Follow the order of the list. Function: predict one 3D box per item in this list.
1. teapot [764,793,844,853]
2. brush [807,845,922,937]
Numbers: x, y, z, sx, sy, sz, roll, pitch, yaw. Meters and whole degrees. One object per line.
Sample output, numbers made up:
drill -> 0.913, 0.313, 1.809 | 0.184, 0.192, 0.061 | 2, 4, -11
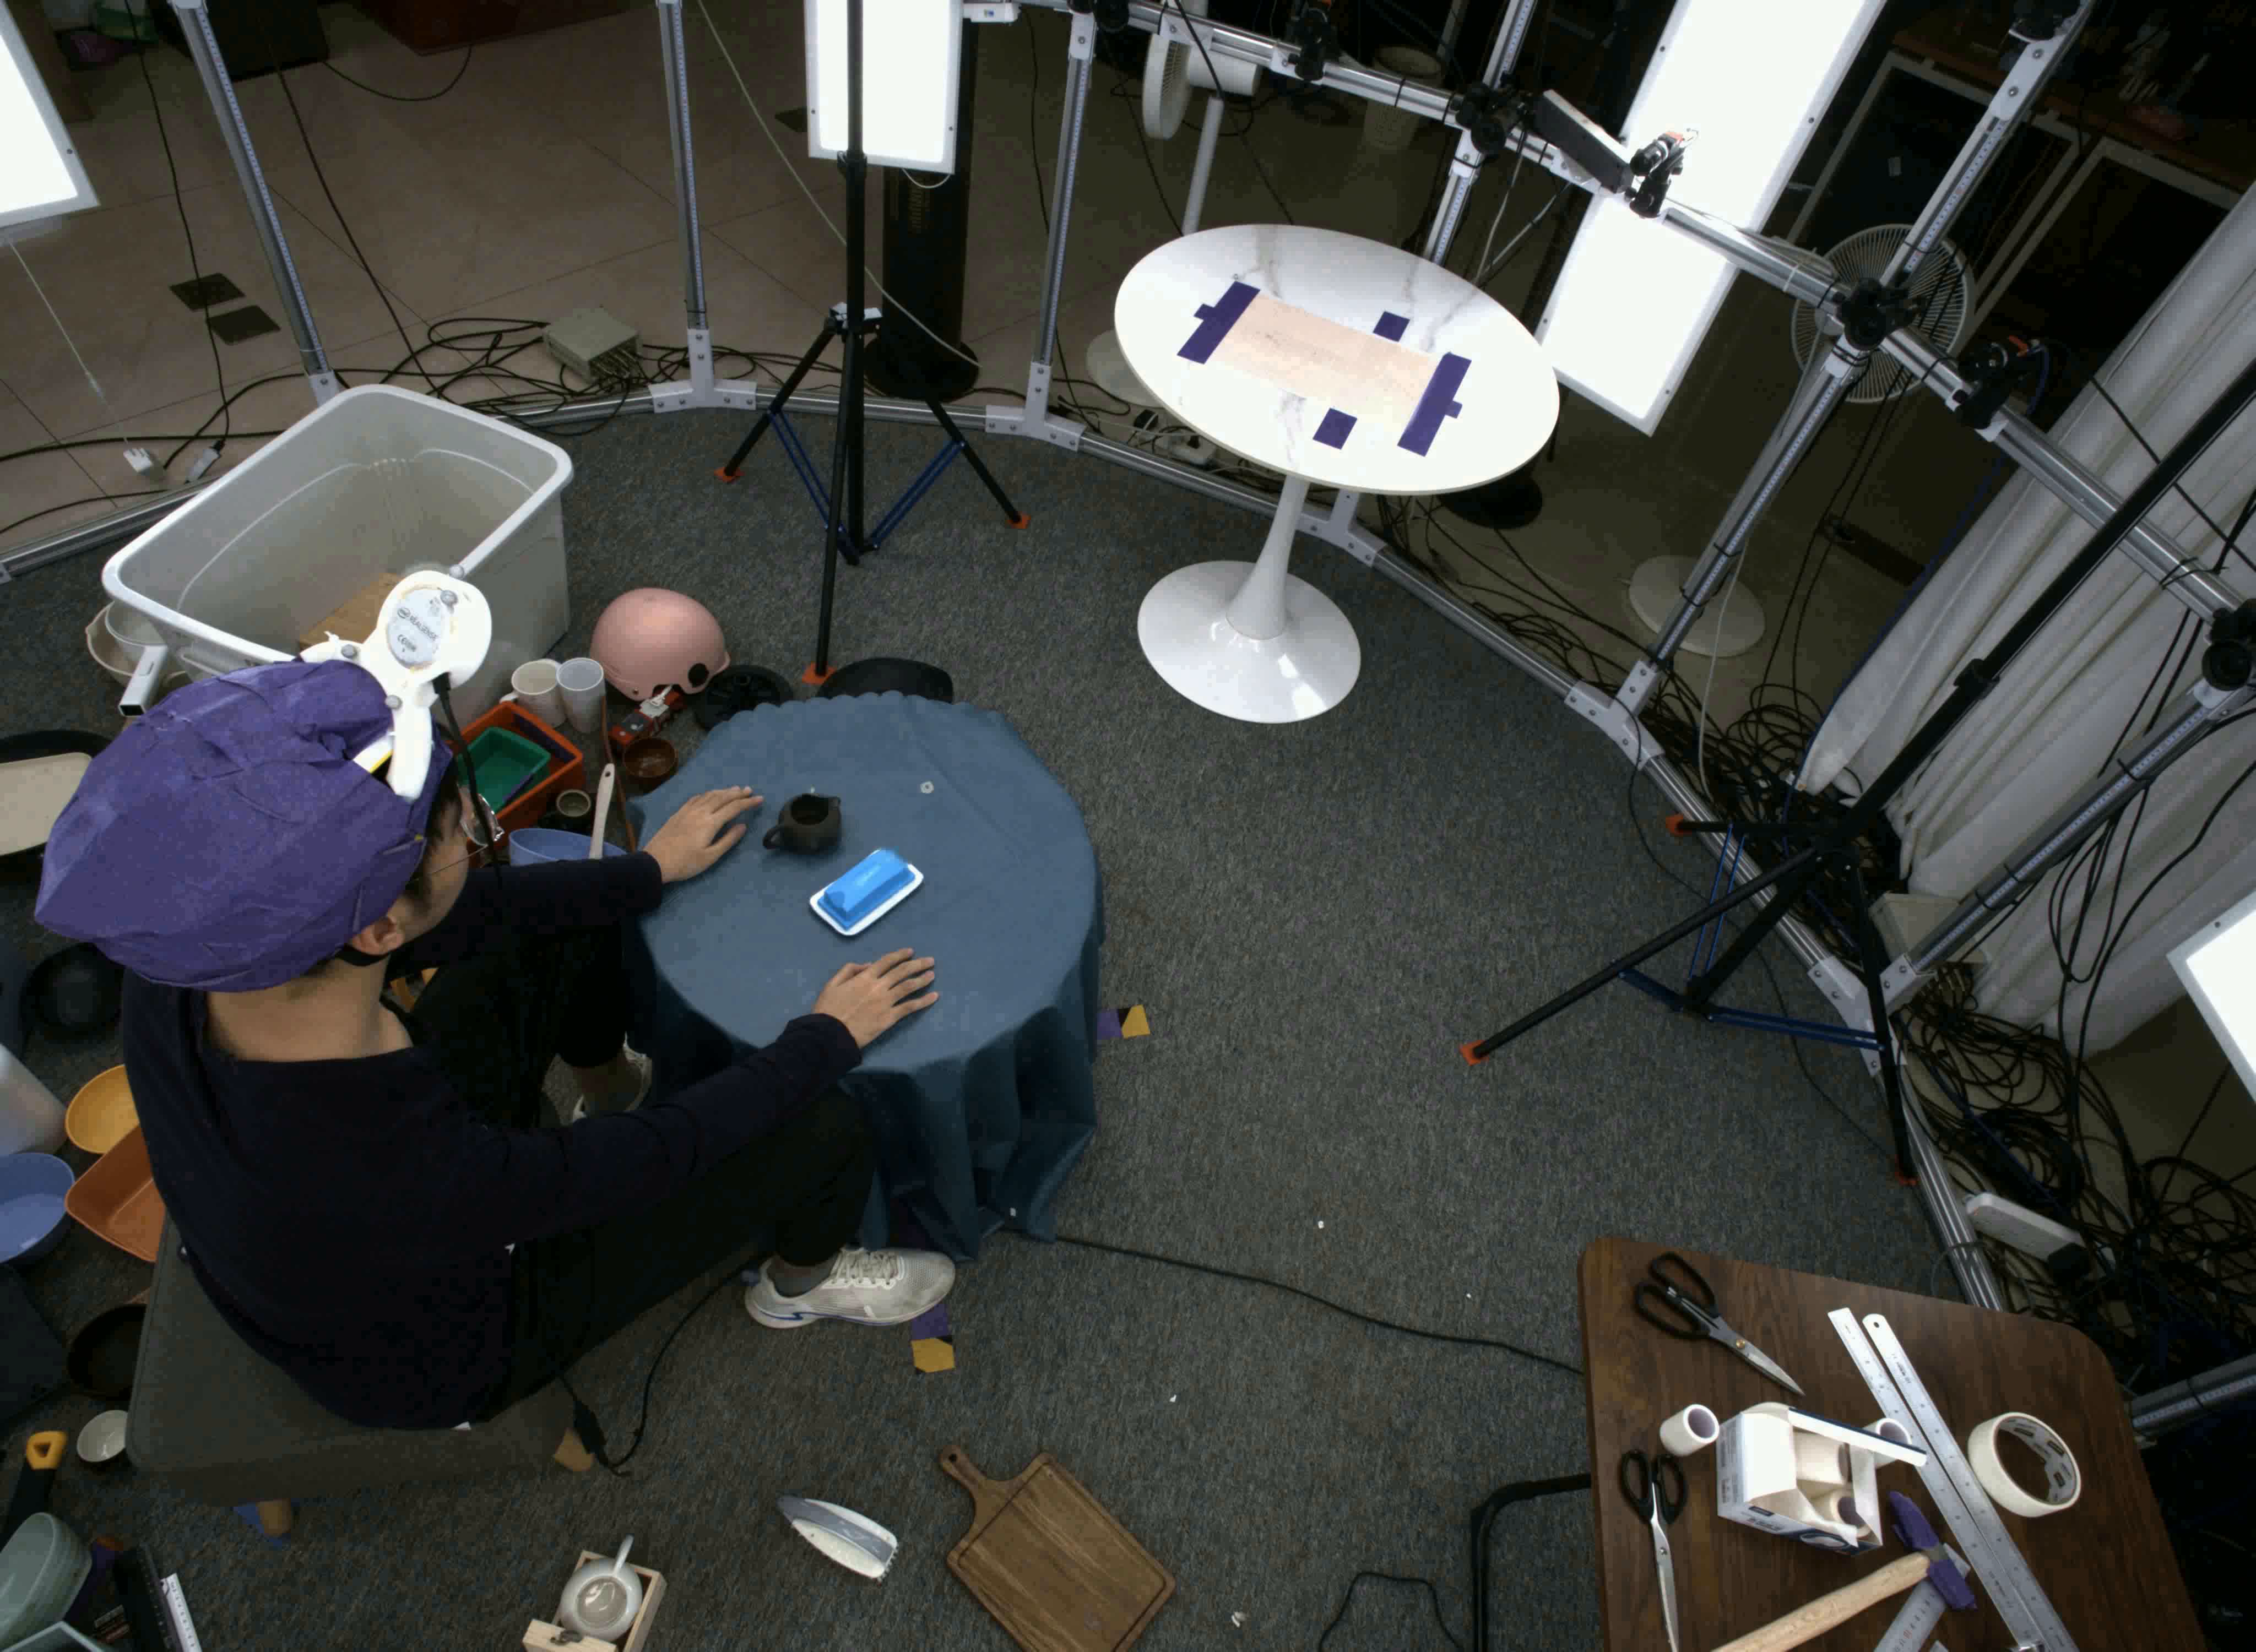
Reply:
teapot -> -0.424, -0.002, 1.696 | 0.115, 0.054, 0.080 | -25, 58, -30
brush -> -0.335, 0.074, 1.654 | 0.081, 0.057, 0.144 | 38, 53, 21
